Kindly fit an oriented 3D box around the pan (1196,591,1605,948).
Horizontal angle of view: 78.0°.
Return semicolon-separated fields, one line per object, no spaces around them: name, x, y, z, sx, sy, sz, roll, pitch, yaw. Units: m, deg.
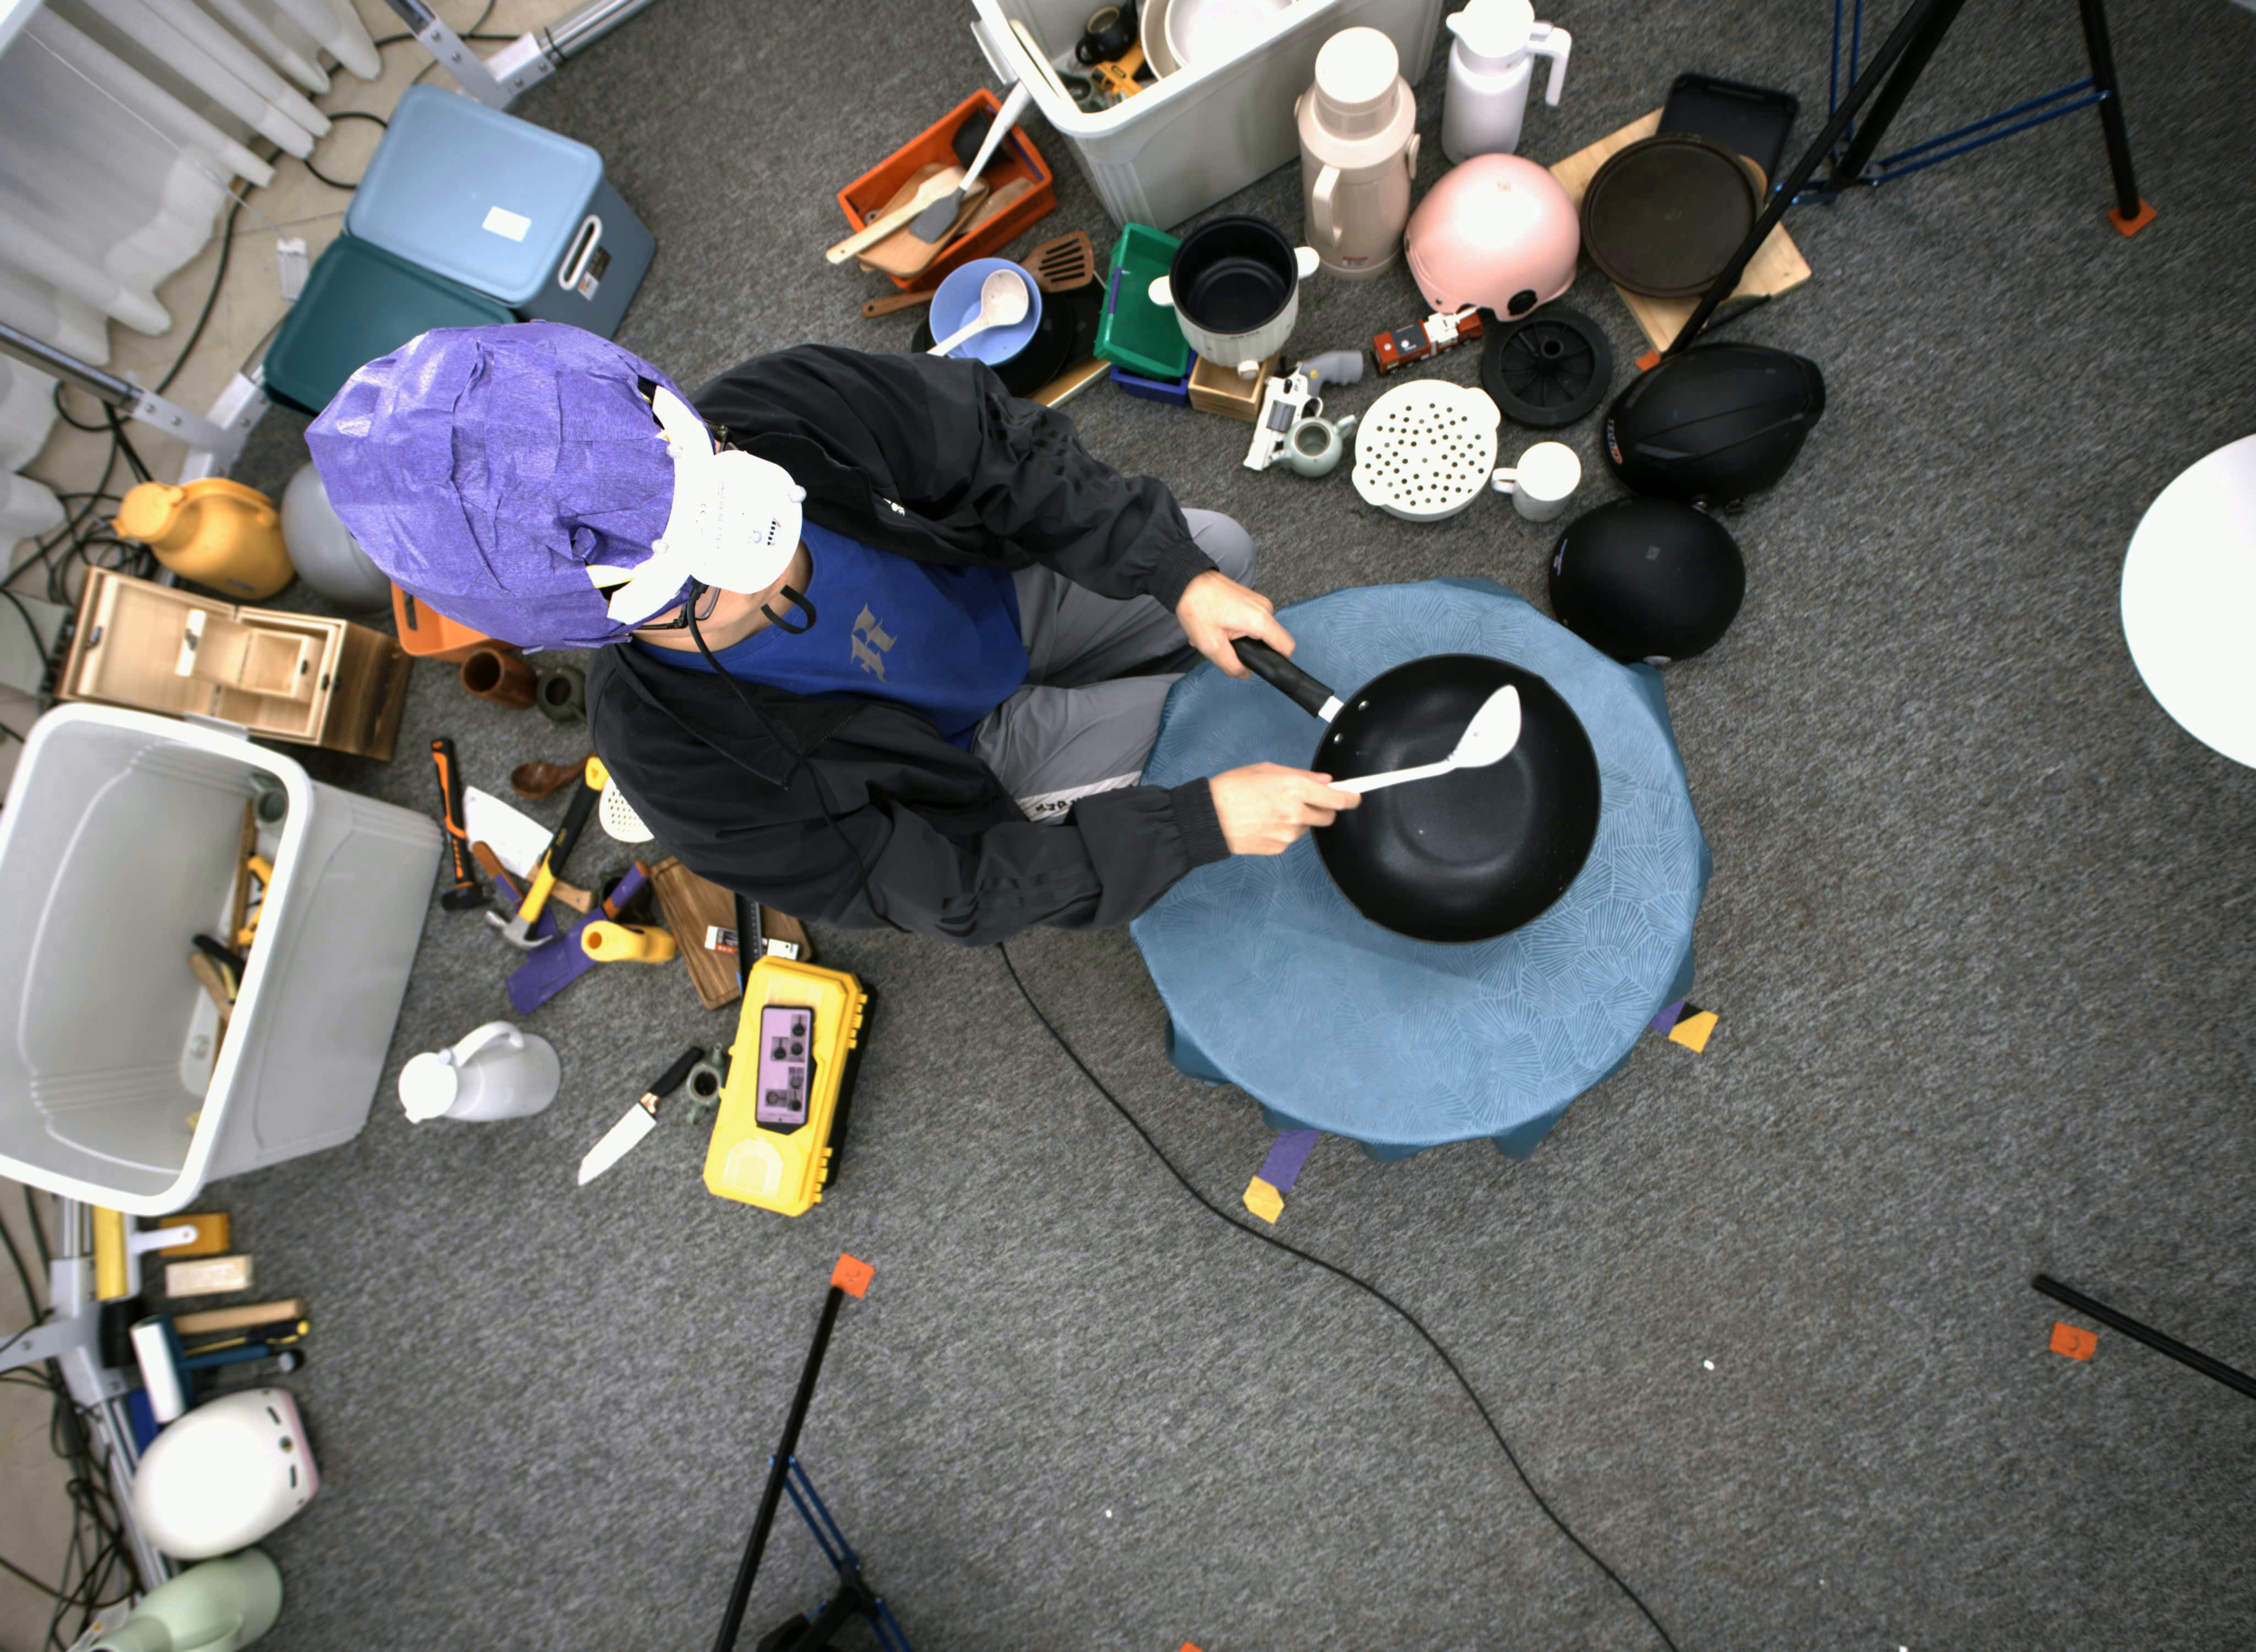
pan;0.254;-0.083;1.369;0.461;0.086;0.292;39;108;14

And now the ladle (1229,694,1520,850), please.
ladle;0.230;-0.048;1.303;0.295;0.088;0.071;-16;109;17
